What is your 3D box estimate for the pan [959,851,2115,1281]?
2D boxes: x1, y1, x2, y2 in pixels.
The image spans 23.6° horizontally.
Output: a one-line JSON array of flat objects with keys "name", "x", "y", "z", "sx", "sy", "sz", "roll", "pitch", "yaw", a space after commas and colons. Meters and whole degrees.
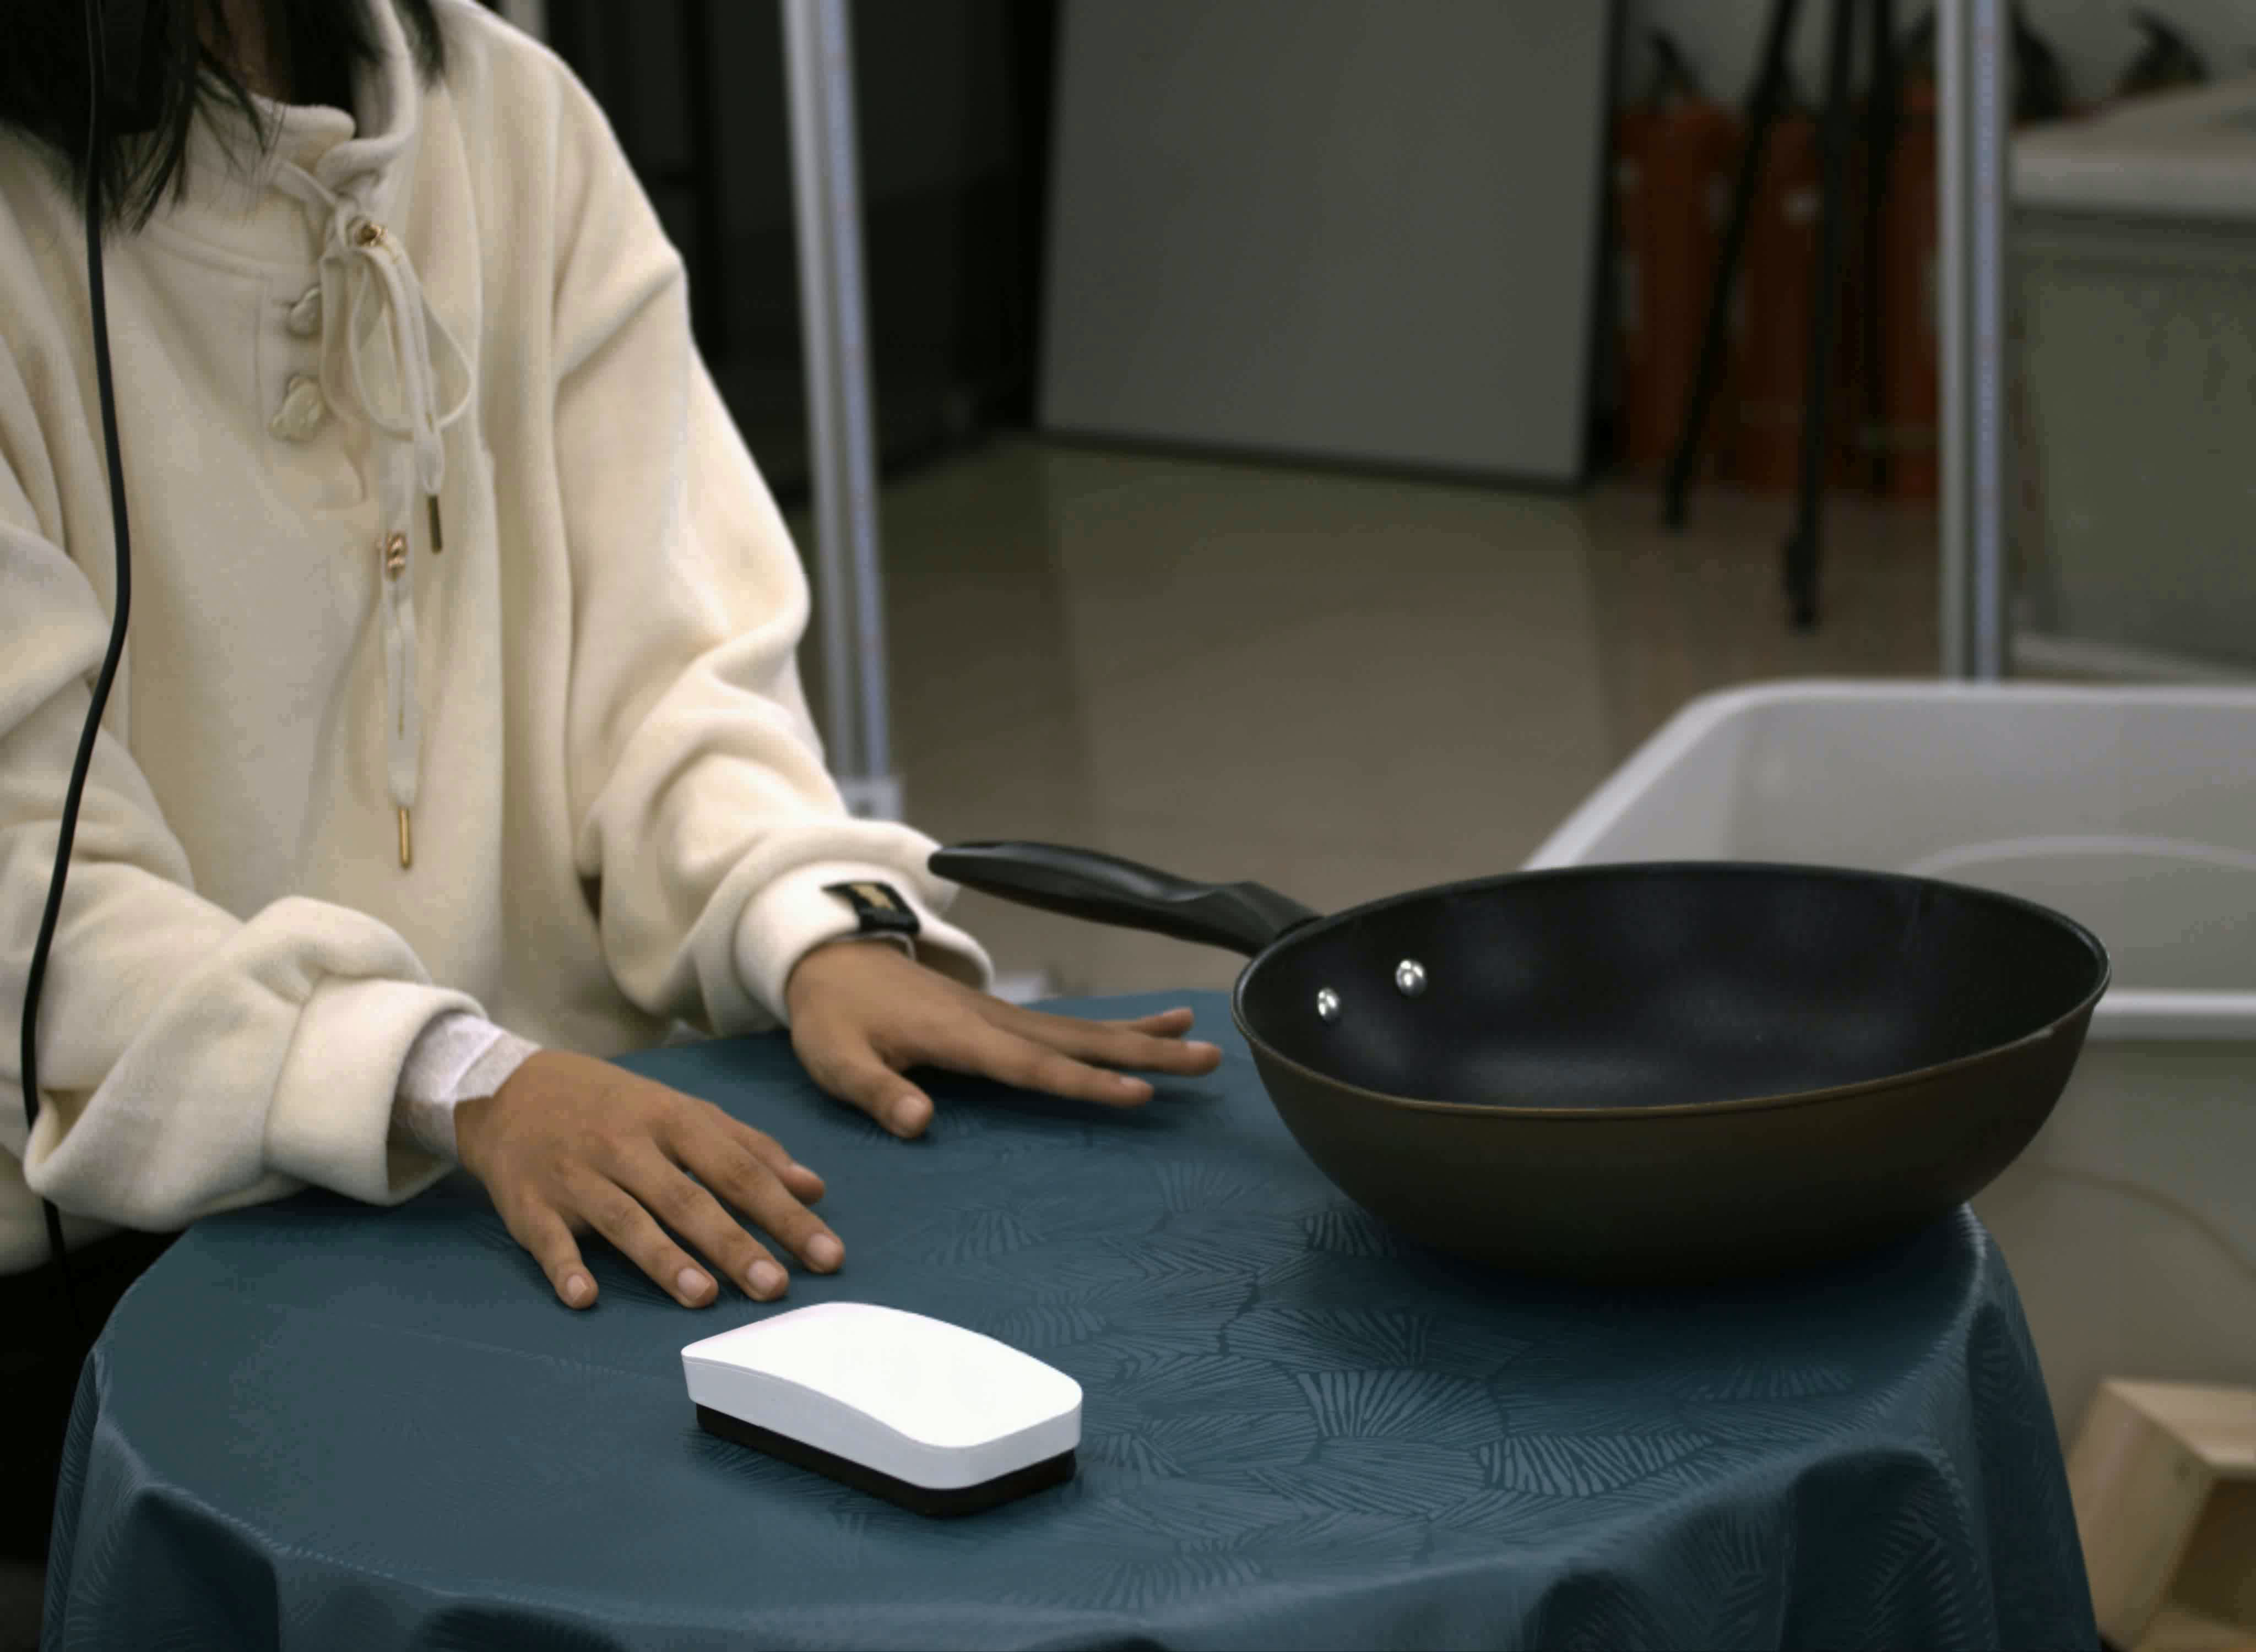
[{"name": "pan", "x": 0.107, "y": 0.072, "z": 1.763, "sx": 0.467, "sy": 0.088, "sz": 0.282, "roll": 8, "pitch": 18, "yaw": 44}]

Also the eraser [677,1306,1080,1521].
[{"name": "eraser", "x": -0.071, "y": 0.165, "z": 1.549, "sx": 0.062, "sy": 0.035, "sz": 0.132, "roll": -11, "pitch": 16, "yaw": -39}]
